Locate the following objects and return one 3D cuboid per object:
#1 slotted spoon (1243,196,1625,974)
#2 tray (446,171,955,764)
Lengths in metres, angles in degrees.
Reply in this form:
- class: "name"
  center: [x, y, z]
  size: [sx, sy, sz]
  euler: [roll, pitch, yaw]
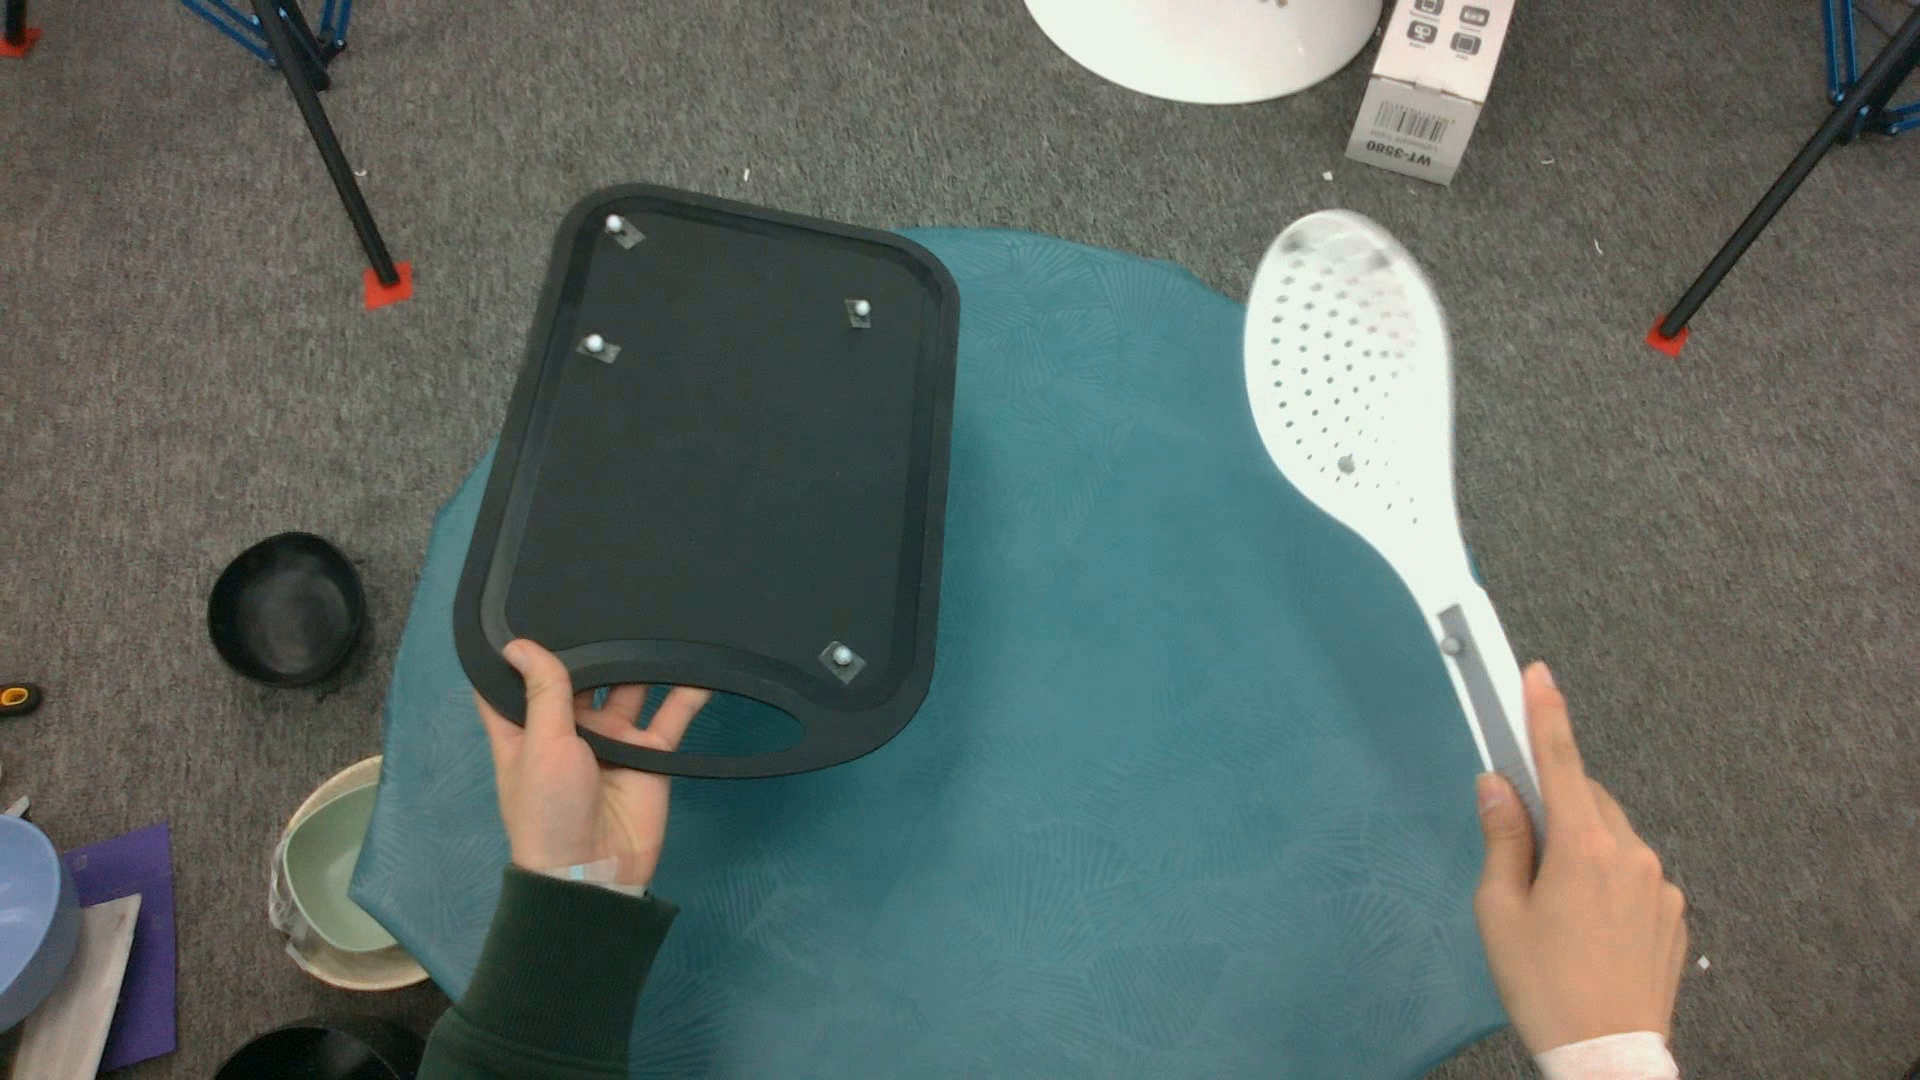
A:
- class: "slotted spoon"
  center: [0.203, 0.009, 0.595]
  size: [0.046, 0.135, 0.350]
  euler: [-4, 67, -19]
- class: "tray"
  center: [-0.111, -0.048, 0.658]
  size: [0.211, 0.010, 0.327]
  euler: [10, 58, -9]
